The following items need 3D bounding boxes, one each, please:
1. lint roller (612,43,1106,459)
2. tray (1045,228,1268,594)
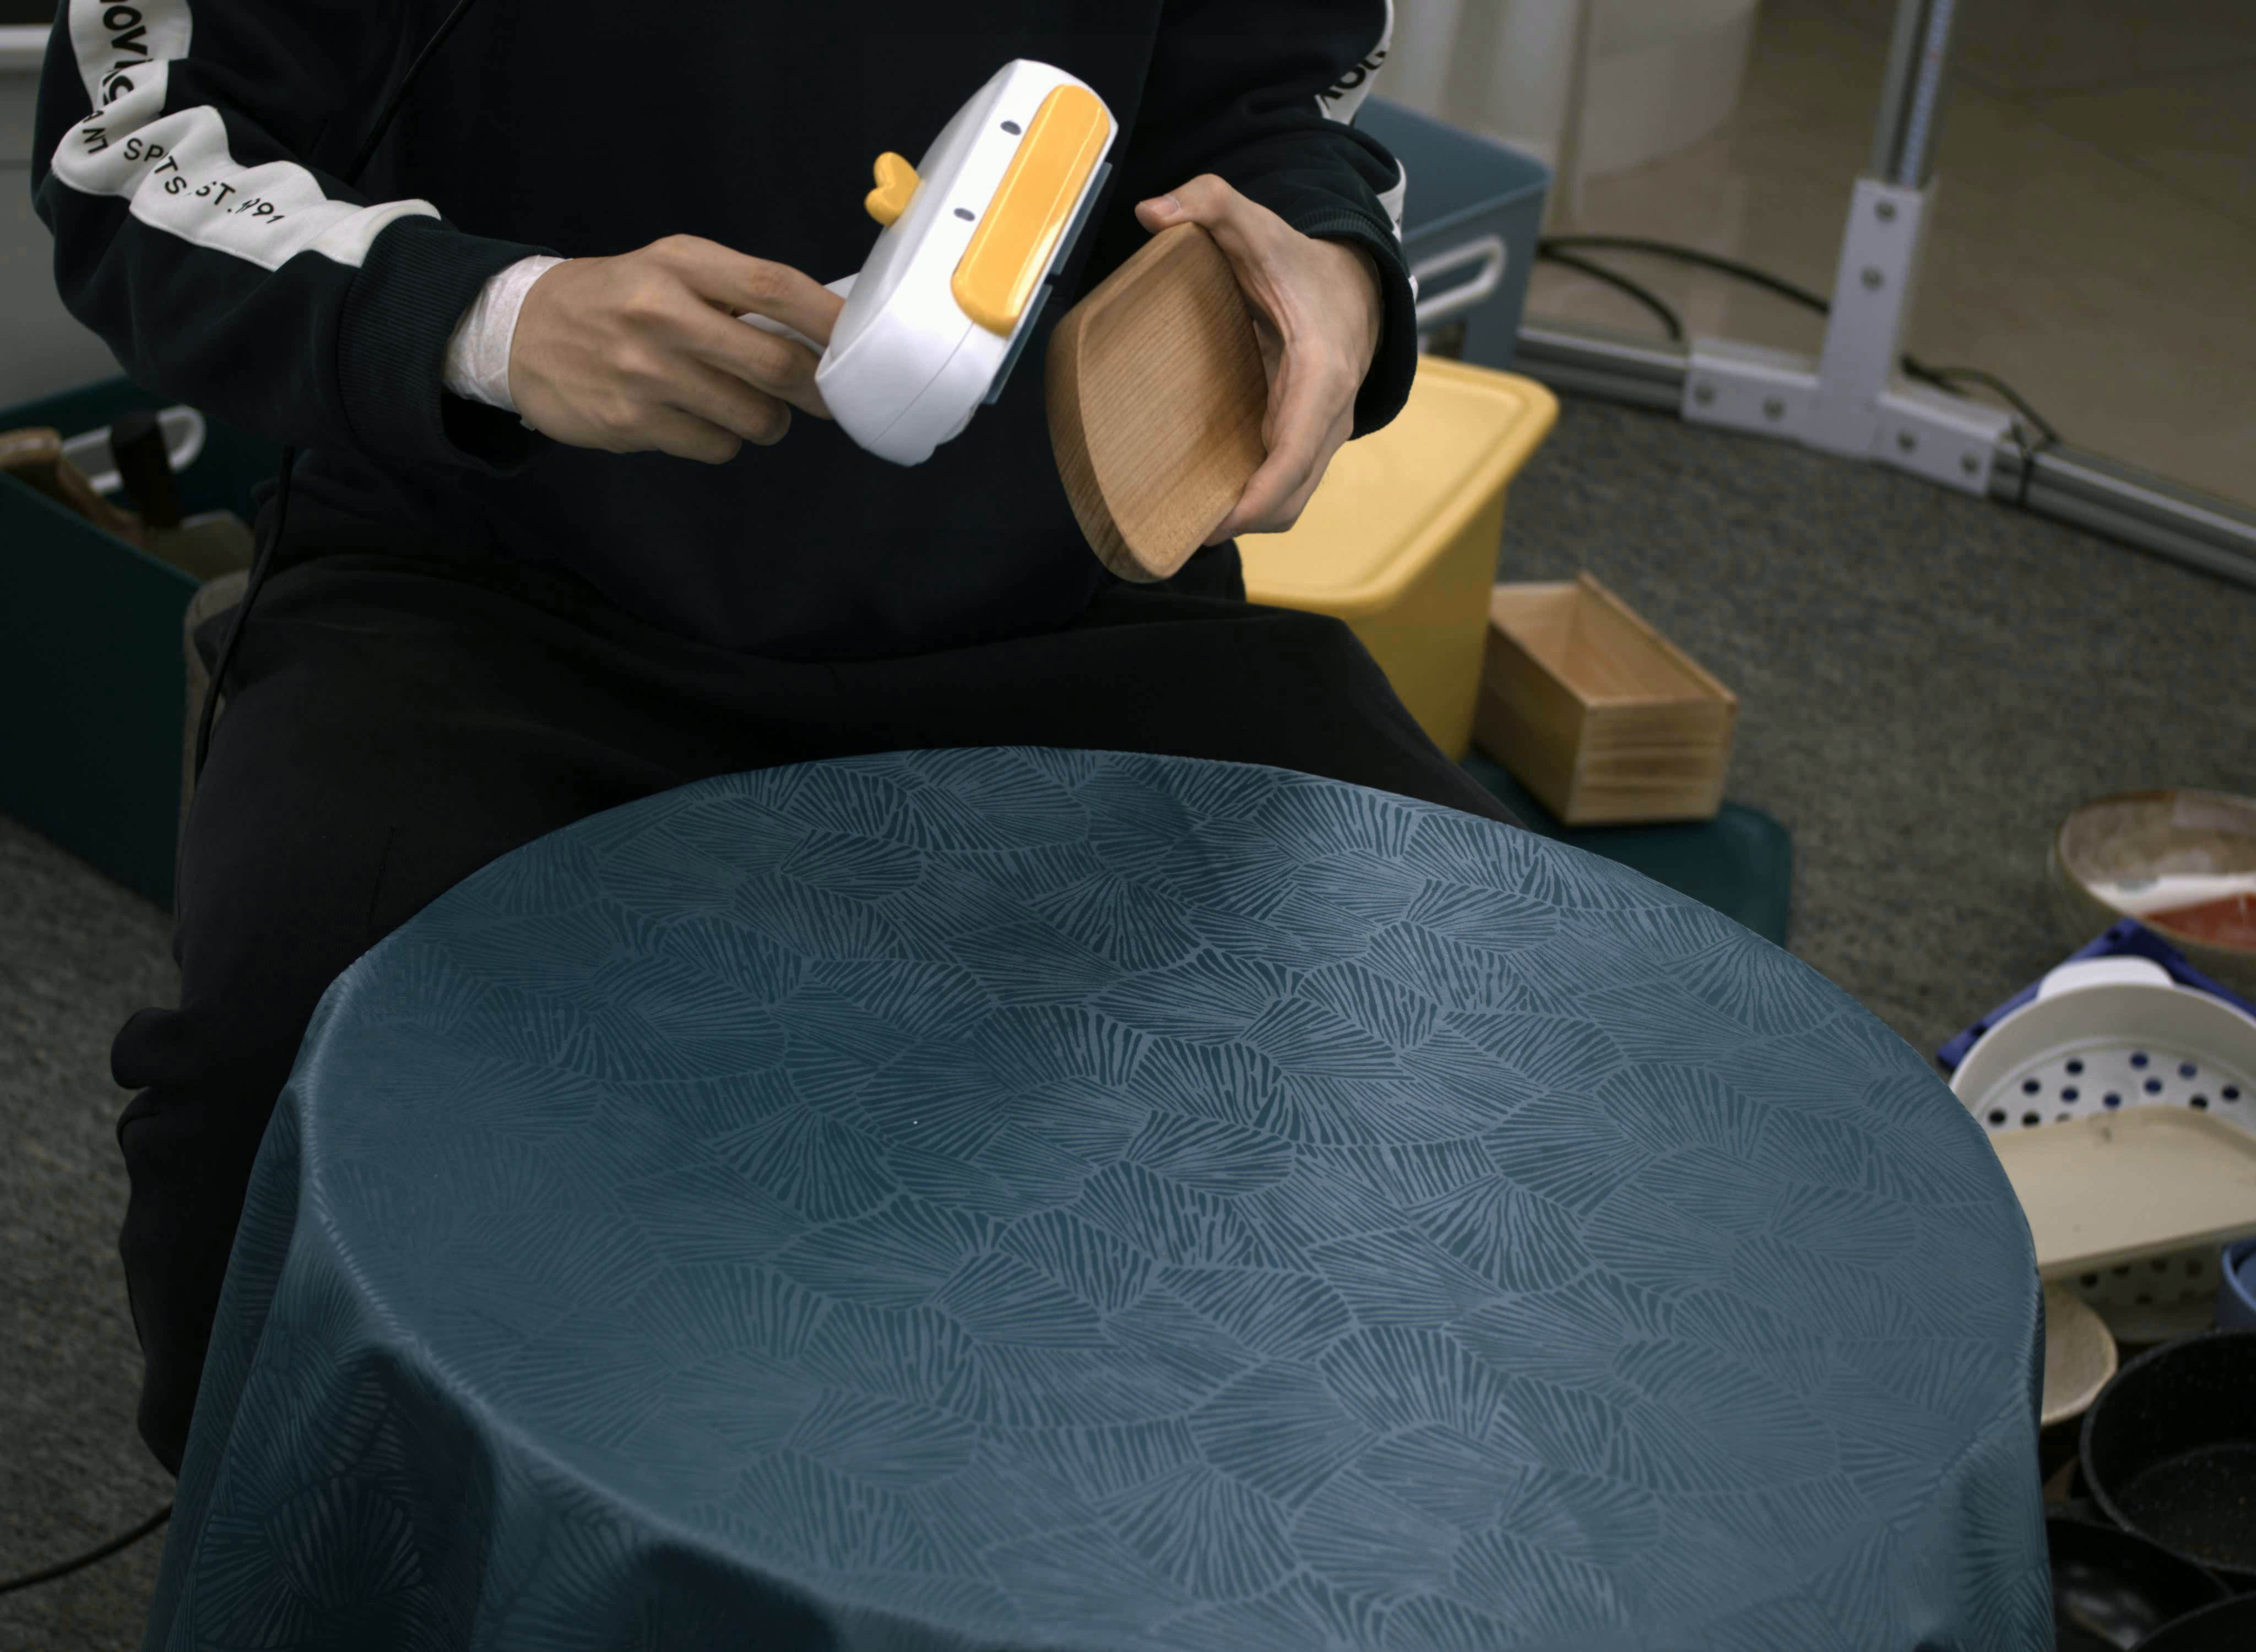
[{"bbox_3d":[-0.100,-0.178,1.869,0.073,0.192,0.194,41,35,-21],"label":"lint roller"},{"bbox_3d":[0.011,-0.151,1.923,0.020,0.101,0.231,-15,14,20],"label":"tray"}]
